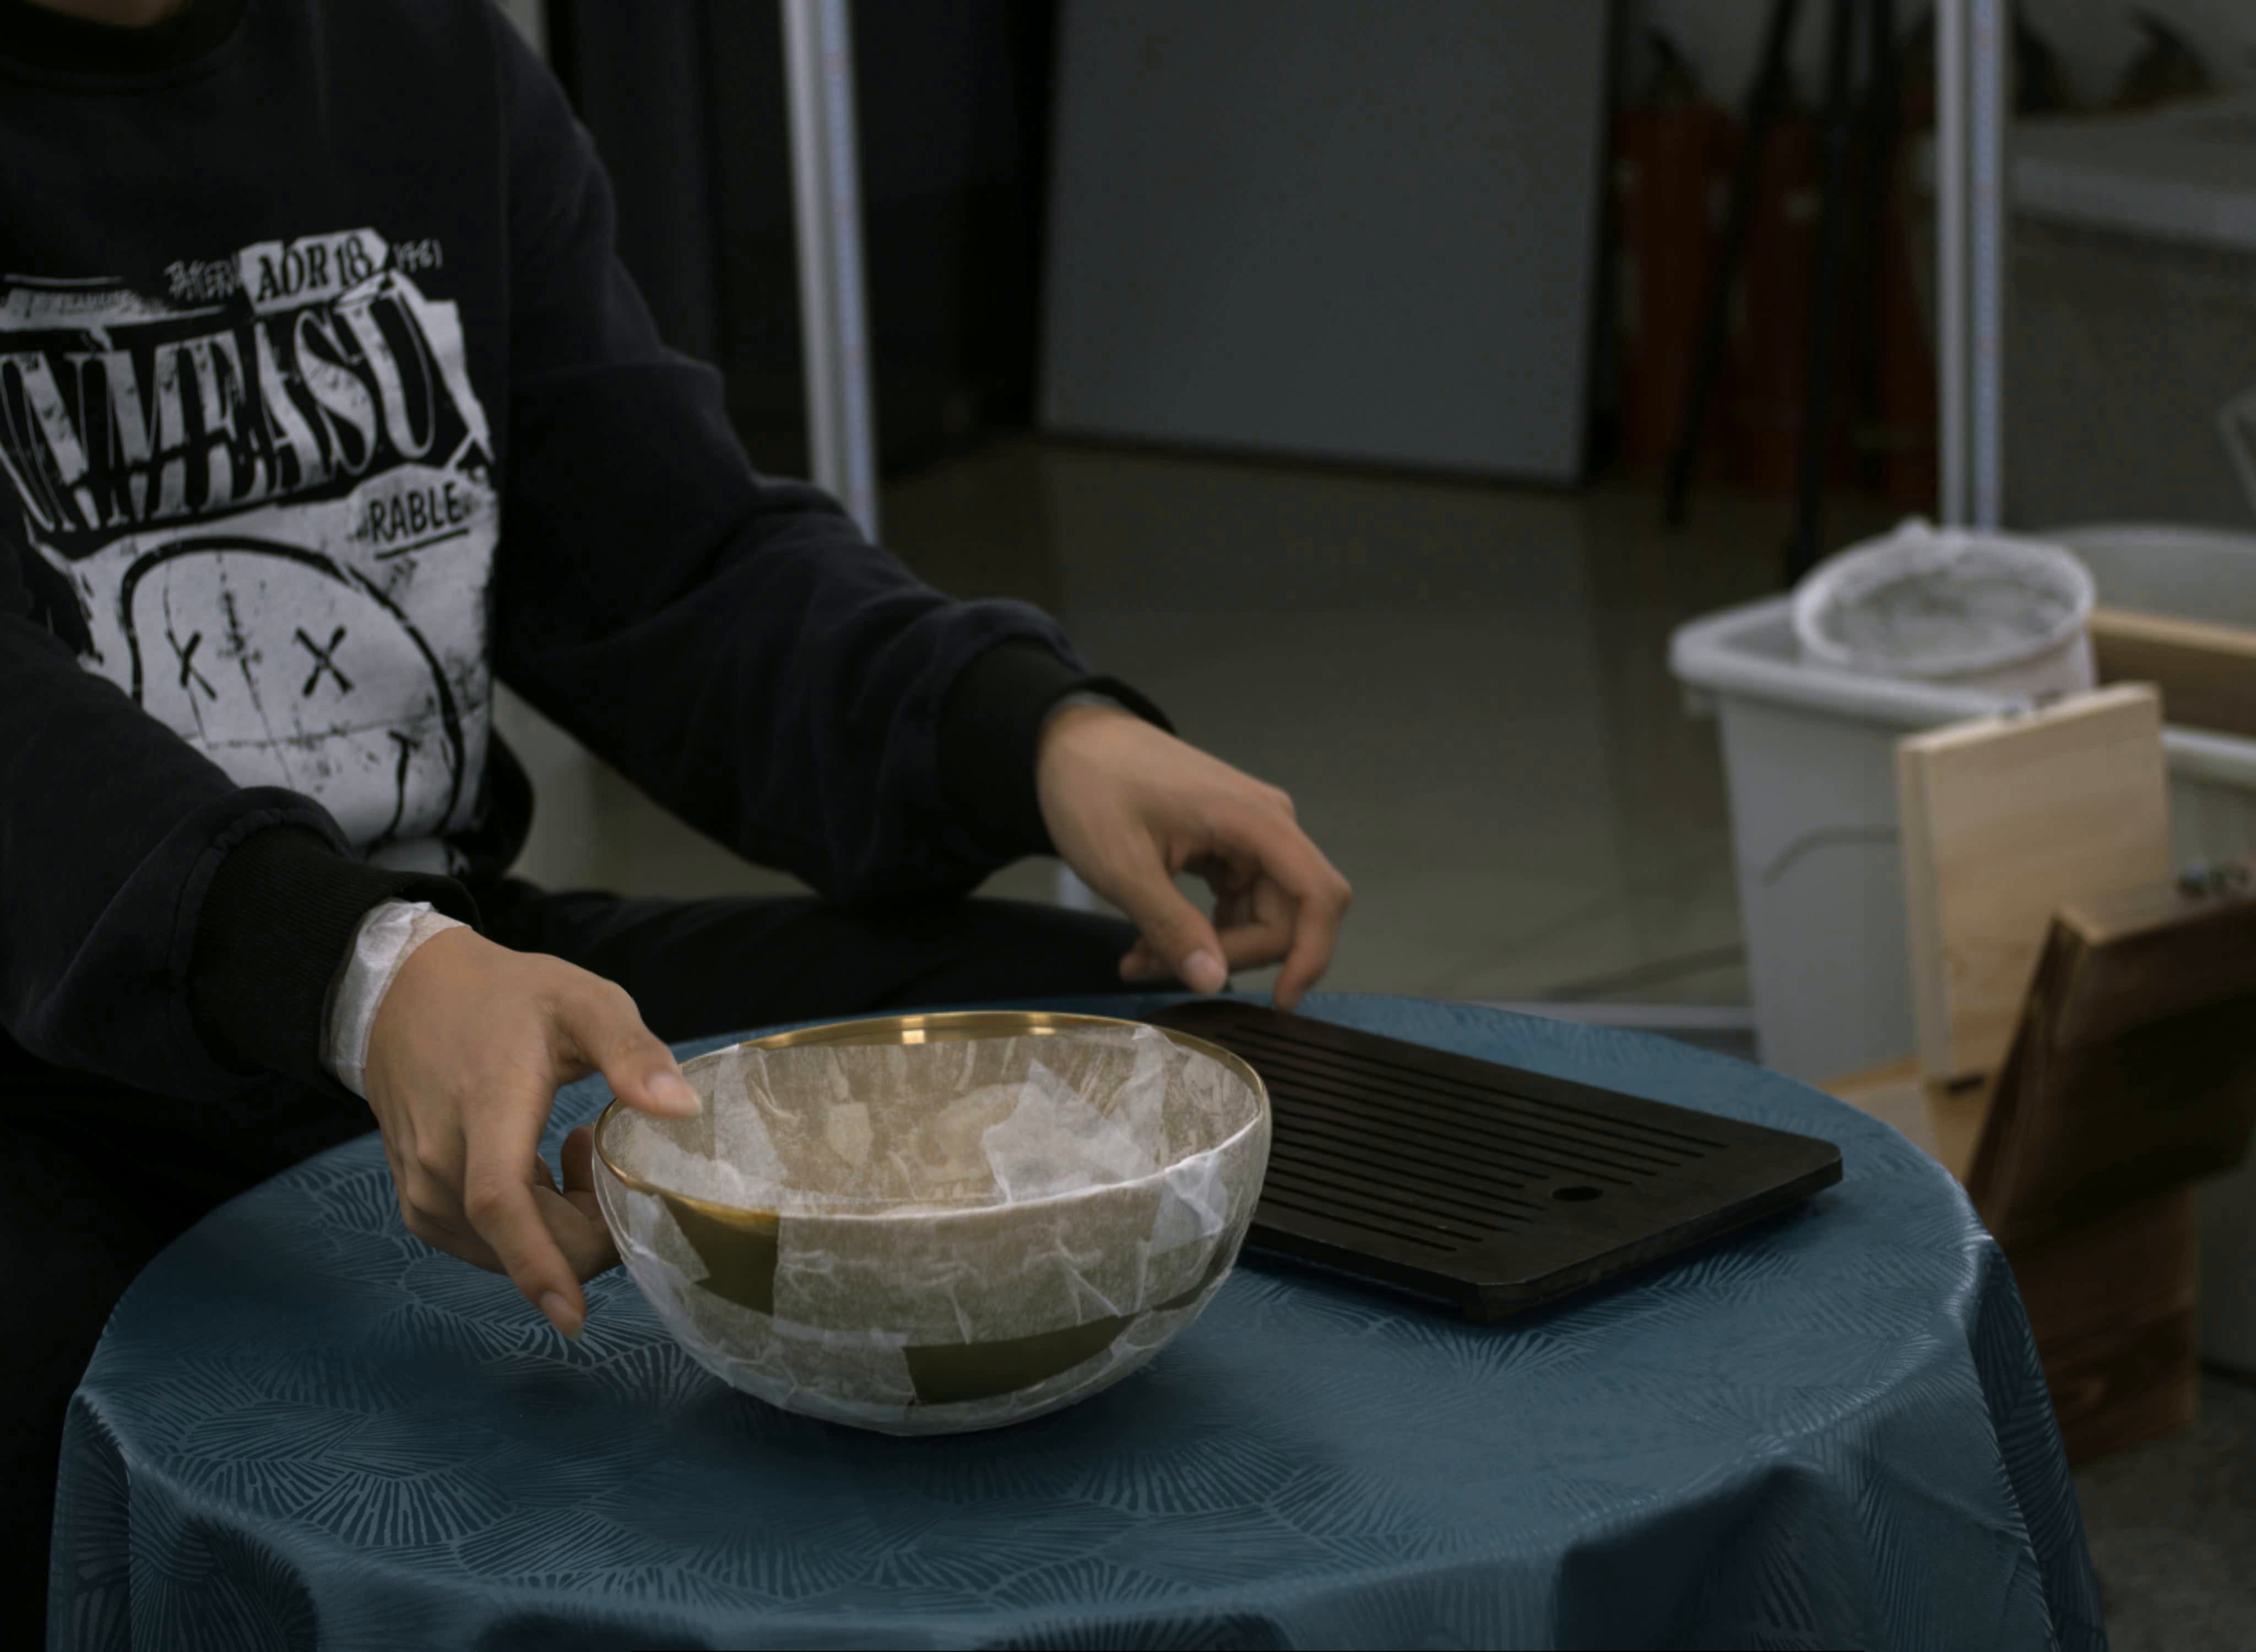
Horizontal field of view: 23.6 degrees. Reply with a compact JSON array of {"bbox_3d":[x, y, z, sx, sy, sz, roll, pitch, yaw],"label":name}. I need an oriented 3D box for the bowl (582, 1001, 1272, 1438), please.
[{"bbox_3d":[-0.055,0.122,1.587,0.212,0.095,0.215,-4,14,0],"label":"bowl"}]

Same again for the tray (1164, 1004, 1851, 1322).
[{"bbox_3d":[0.074,0.107,1.769,0.166,0.019,0.309,-16,18,-40],"label":"tray"}]
